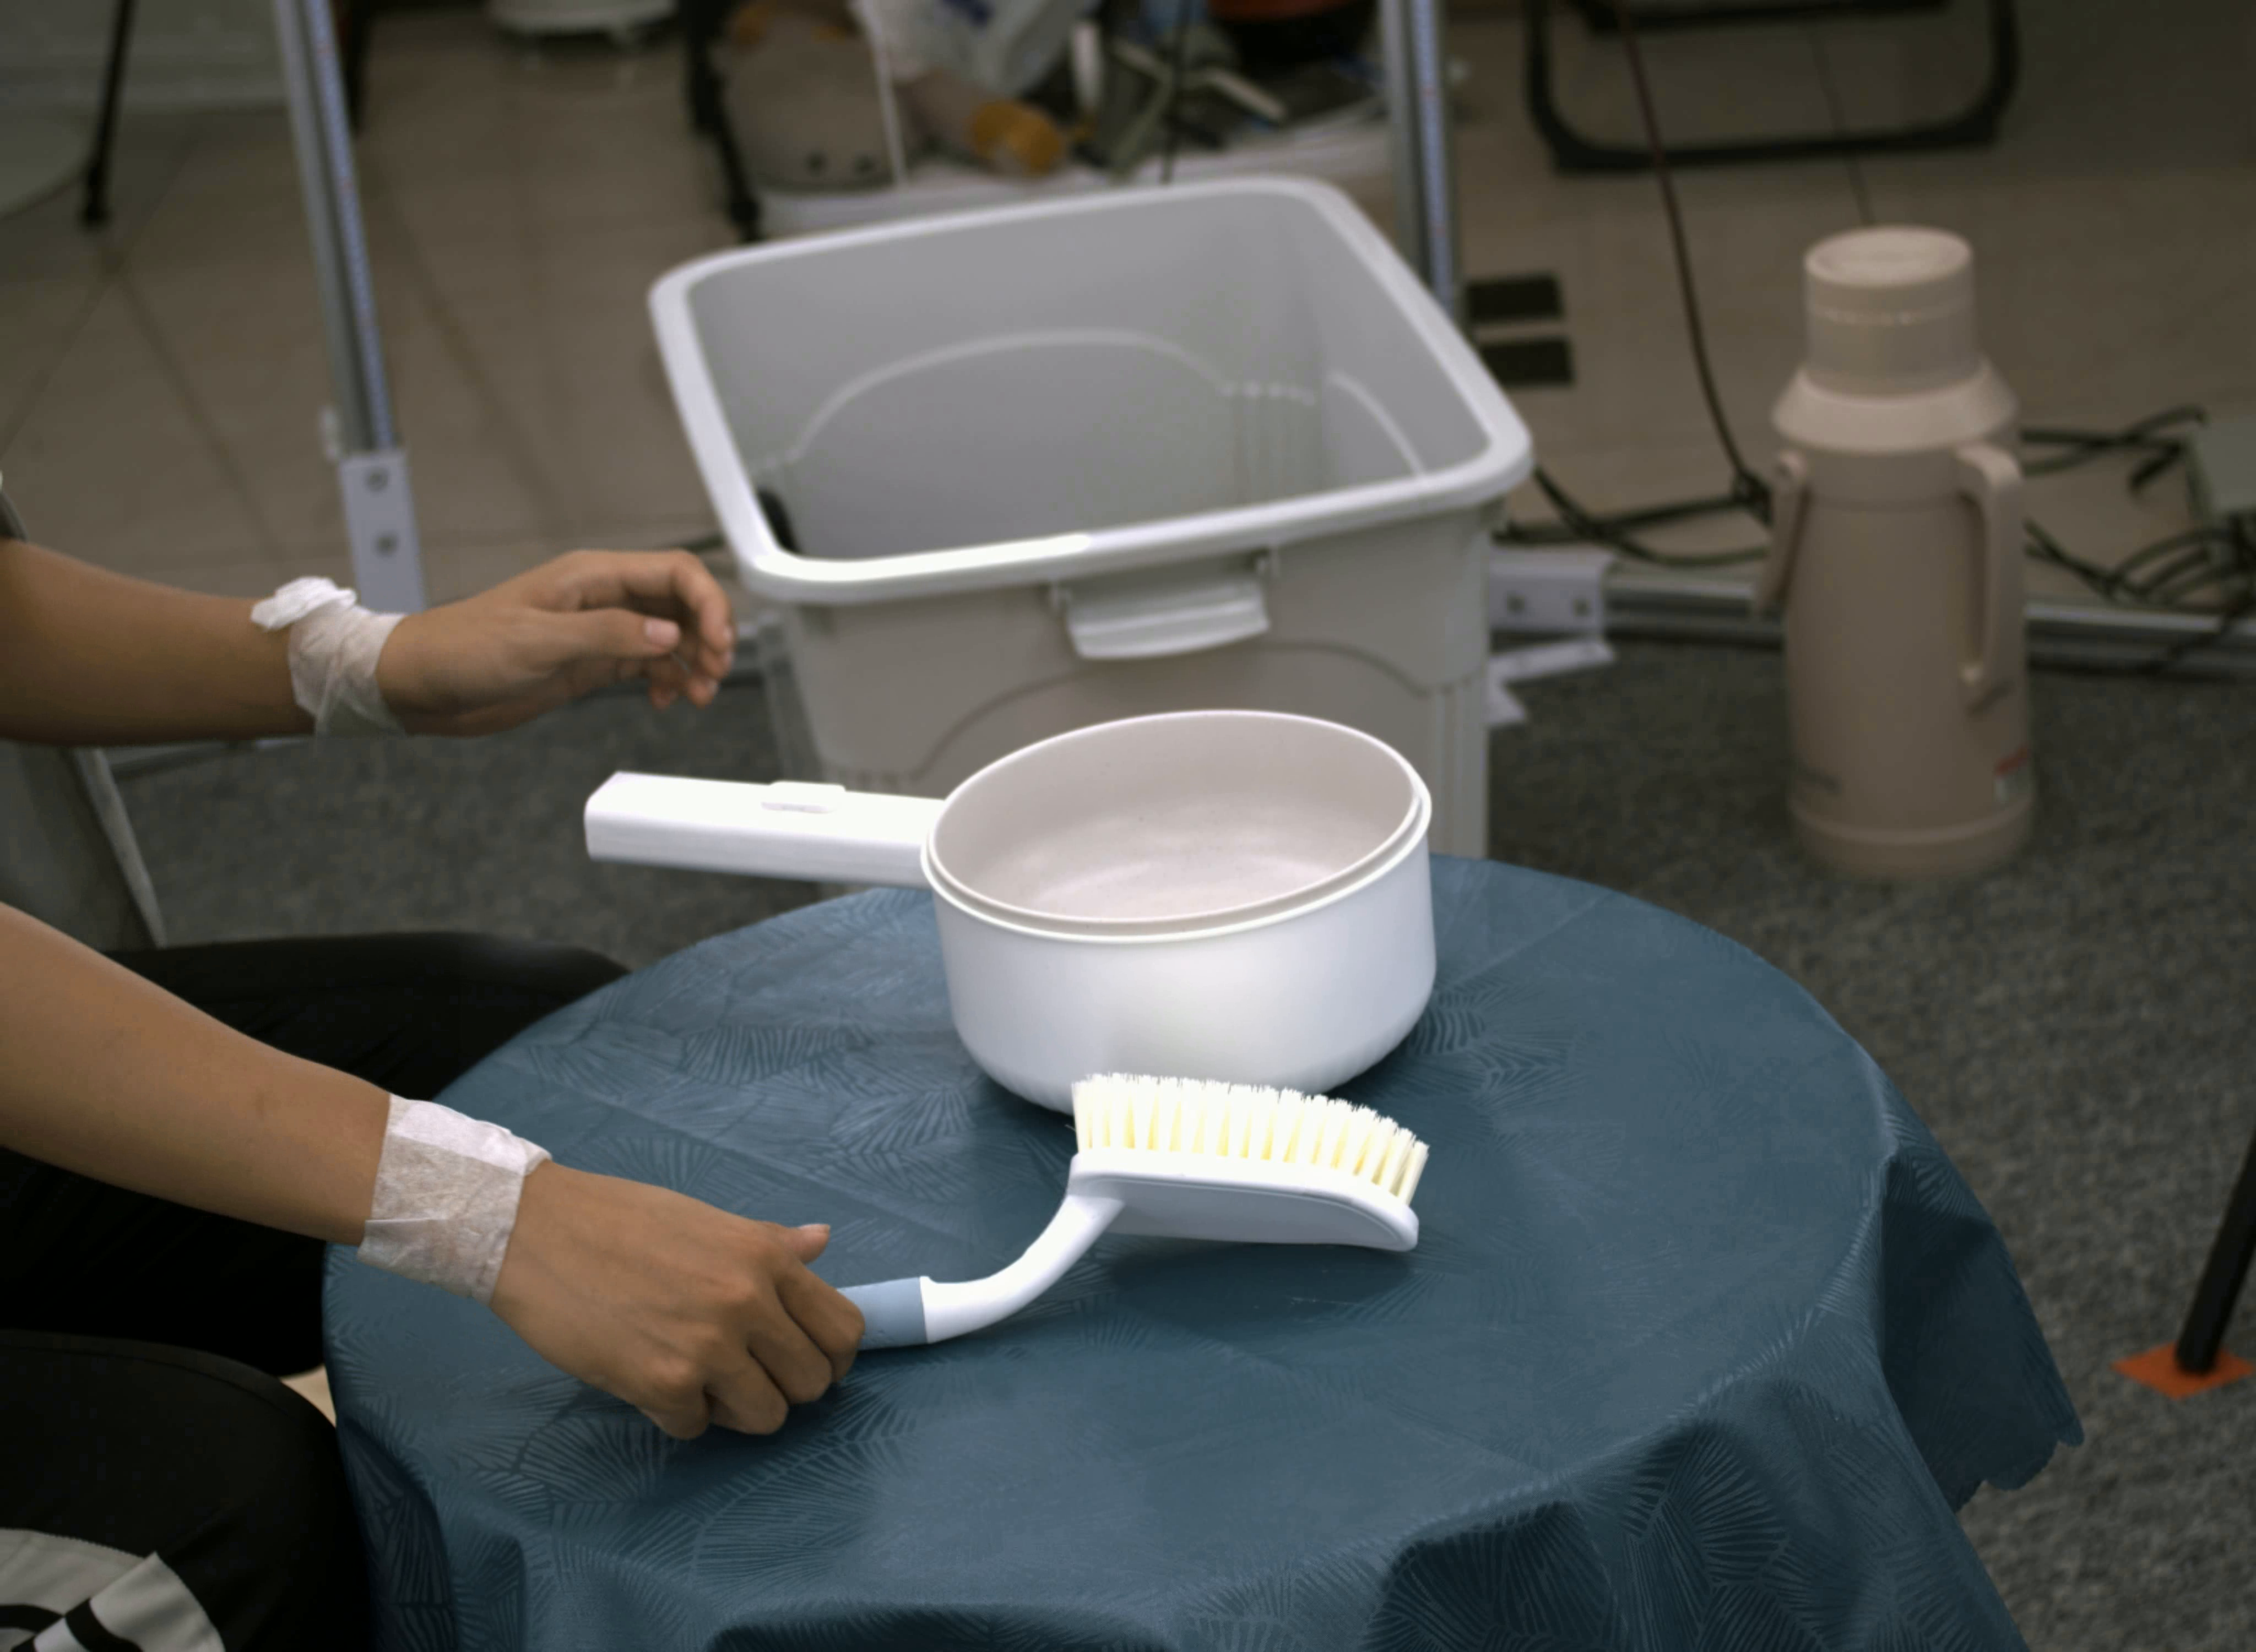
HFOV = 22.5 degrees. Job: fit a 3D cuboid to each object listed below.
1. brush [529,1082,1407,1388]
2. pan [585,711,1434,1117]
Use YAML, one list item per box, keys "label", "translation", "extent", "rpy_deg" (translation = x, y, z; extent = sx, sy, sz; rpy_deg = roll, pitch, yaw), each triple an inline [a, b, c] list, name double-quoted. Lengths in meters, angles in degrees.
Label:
- label: "brush"
  translation: [-0.060, 0.137, 2.073]
  extent: [0.325, 0.084, 0.083]
  rpy_deg: [-7, 29, -2]
- label: "pan"
  translation: [-0.048, 0.036, 2.266]
  extent: [0.354, 0.104, 0.198]
  rpy_deg: [4, 27, 22]
